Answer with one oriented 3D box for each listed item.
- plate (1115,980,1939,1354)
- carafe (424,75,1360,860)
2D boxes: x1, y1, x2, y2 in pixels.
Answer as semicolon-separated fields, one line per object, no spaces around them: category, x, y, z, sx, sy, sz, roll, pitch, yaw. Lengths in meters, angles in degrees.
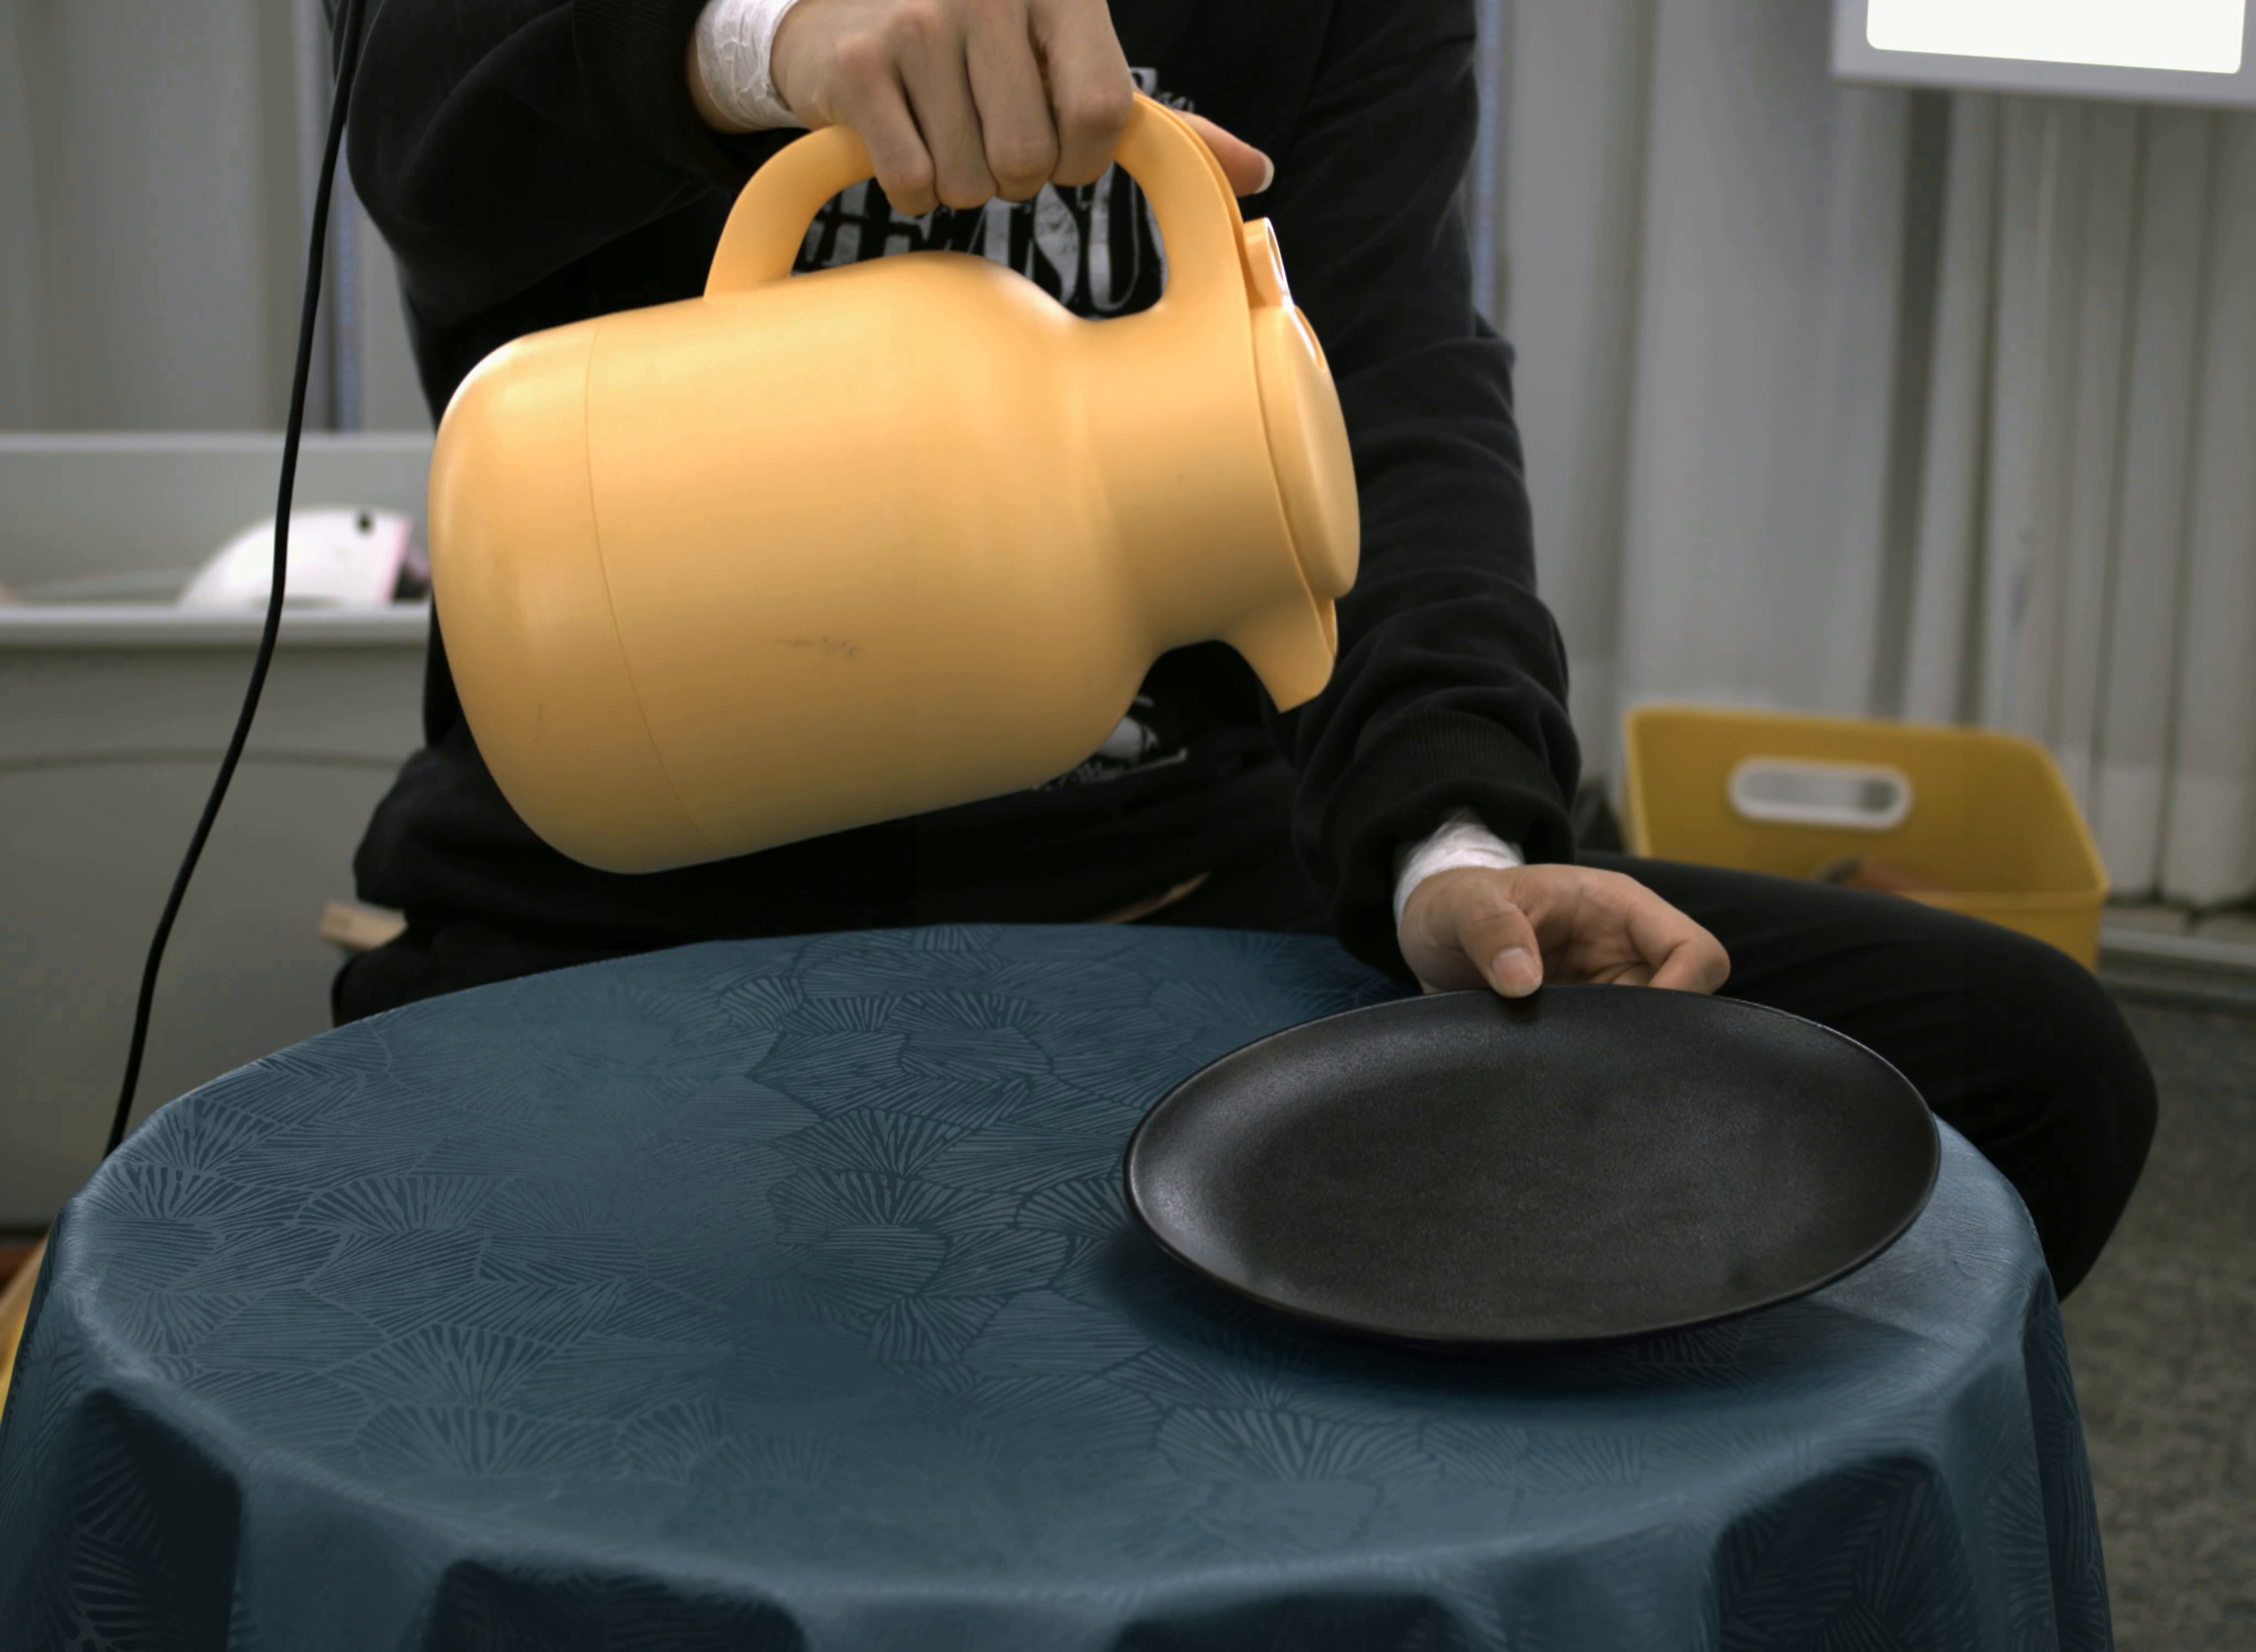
plate;0.119;0.105;1.565;0.243;0.023;0.242;-2;22;2
carafe;-0.067;-0.106;1.525;0.259;0.203;0.163;-10;3;7
